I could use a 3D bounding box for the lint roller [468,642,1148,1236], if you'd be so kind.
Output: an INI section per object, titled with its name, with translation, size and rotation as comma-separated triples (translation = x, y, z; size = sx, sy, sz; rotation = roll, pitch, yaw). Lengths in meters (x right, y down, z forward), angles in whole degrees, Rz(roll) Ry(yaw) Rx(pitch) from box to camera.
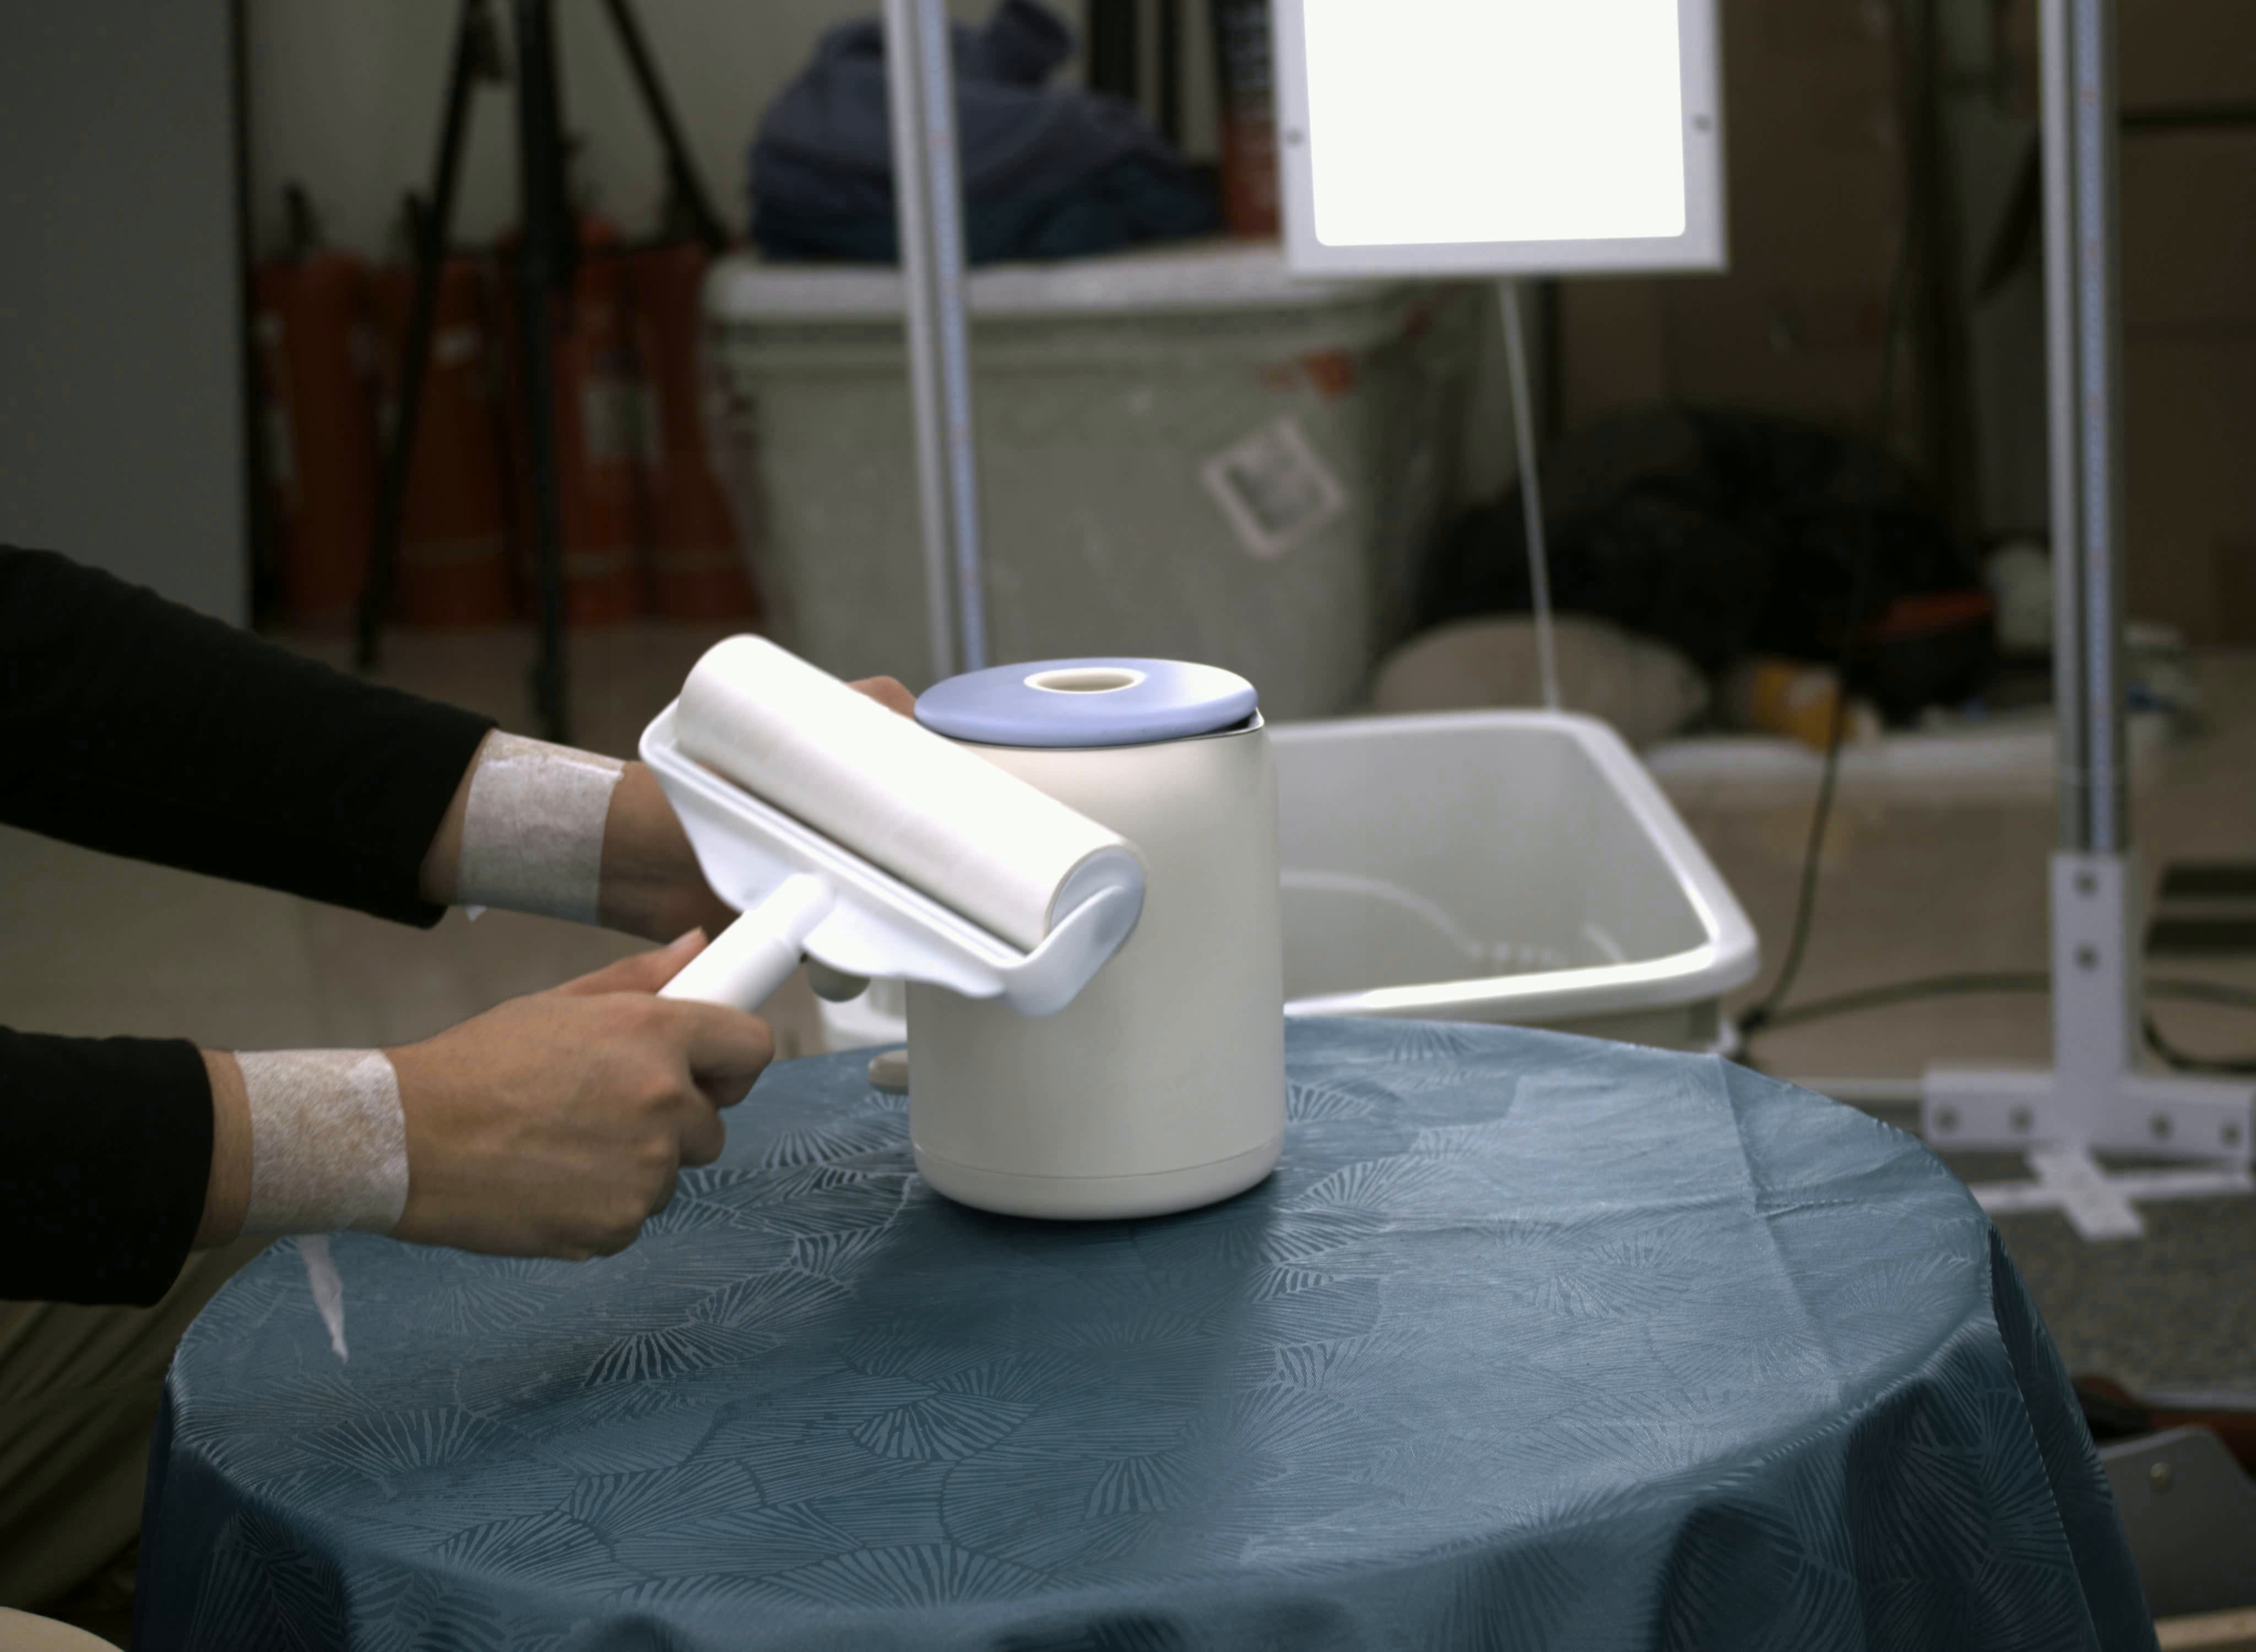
[lint roller]
translation = -0.133, 0.047, 1.791
size = 0.222, 0.048, 0.206
rotation = -43, 46, -20

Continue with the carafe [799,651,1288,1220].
[carafe]
translation = -0.033, 0.035, 1.908
size = 0.195, 0.183, 0.129
rotation = 4, 13, 32
